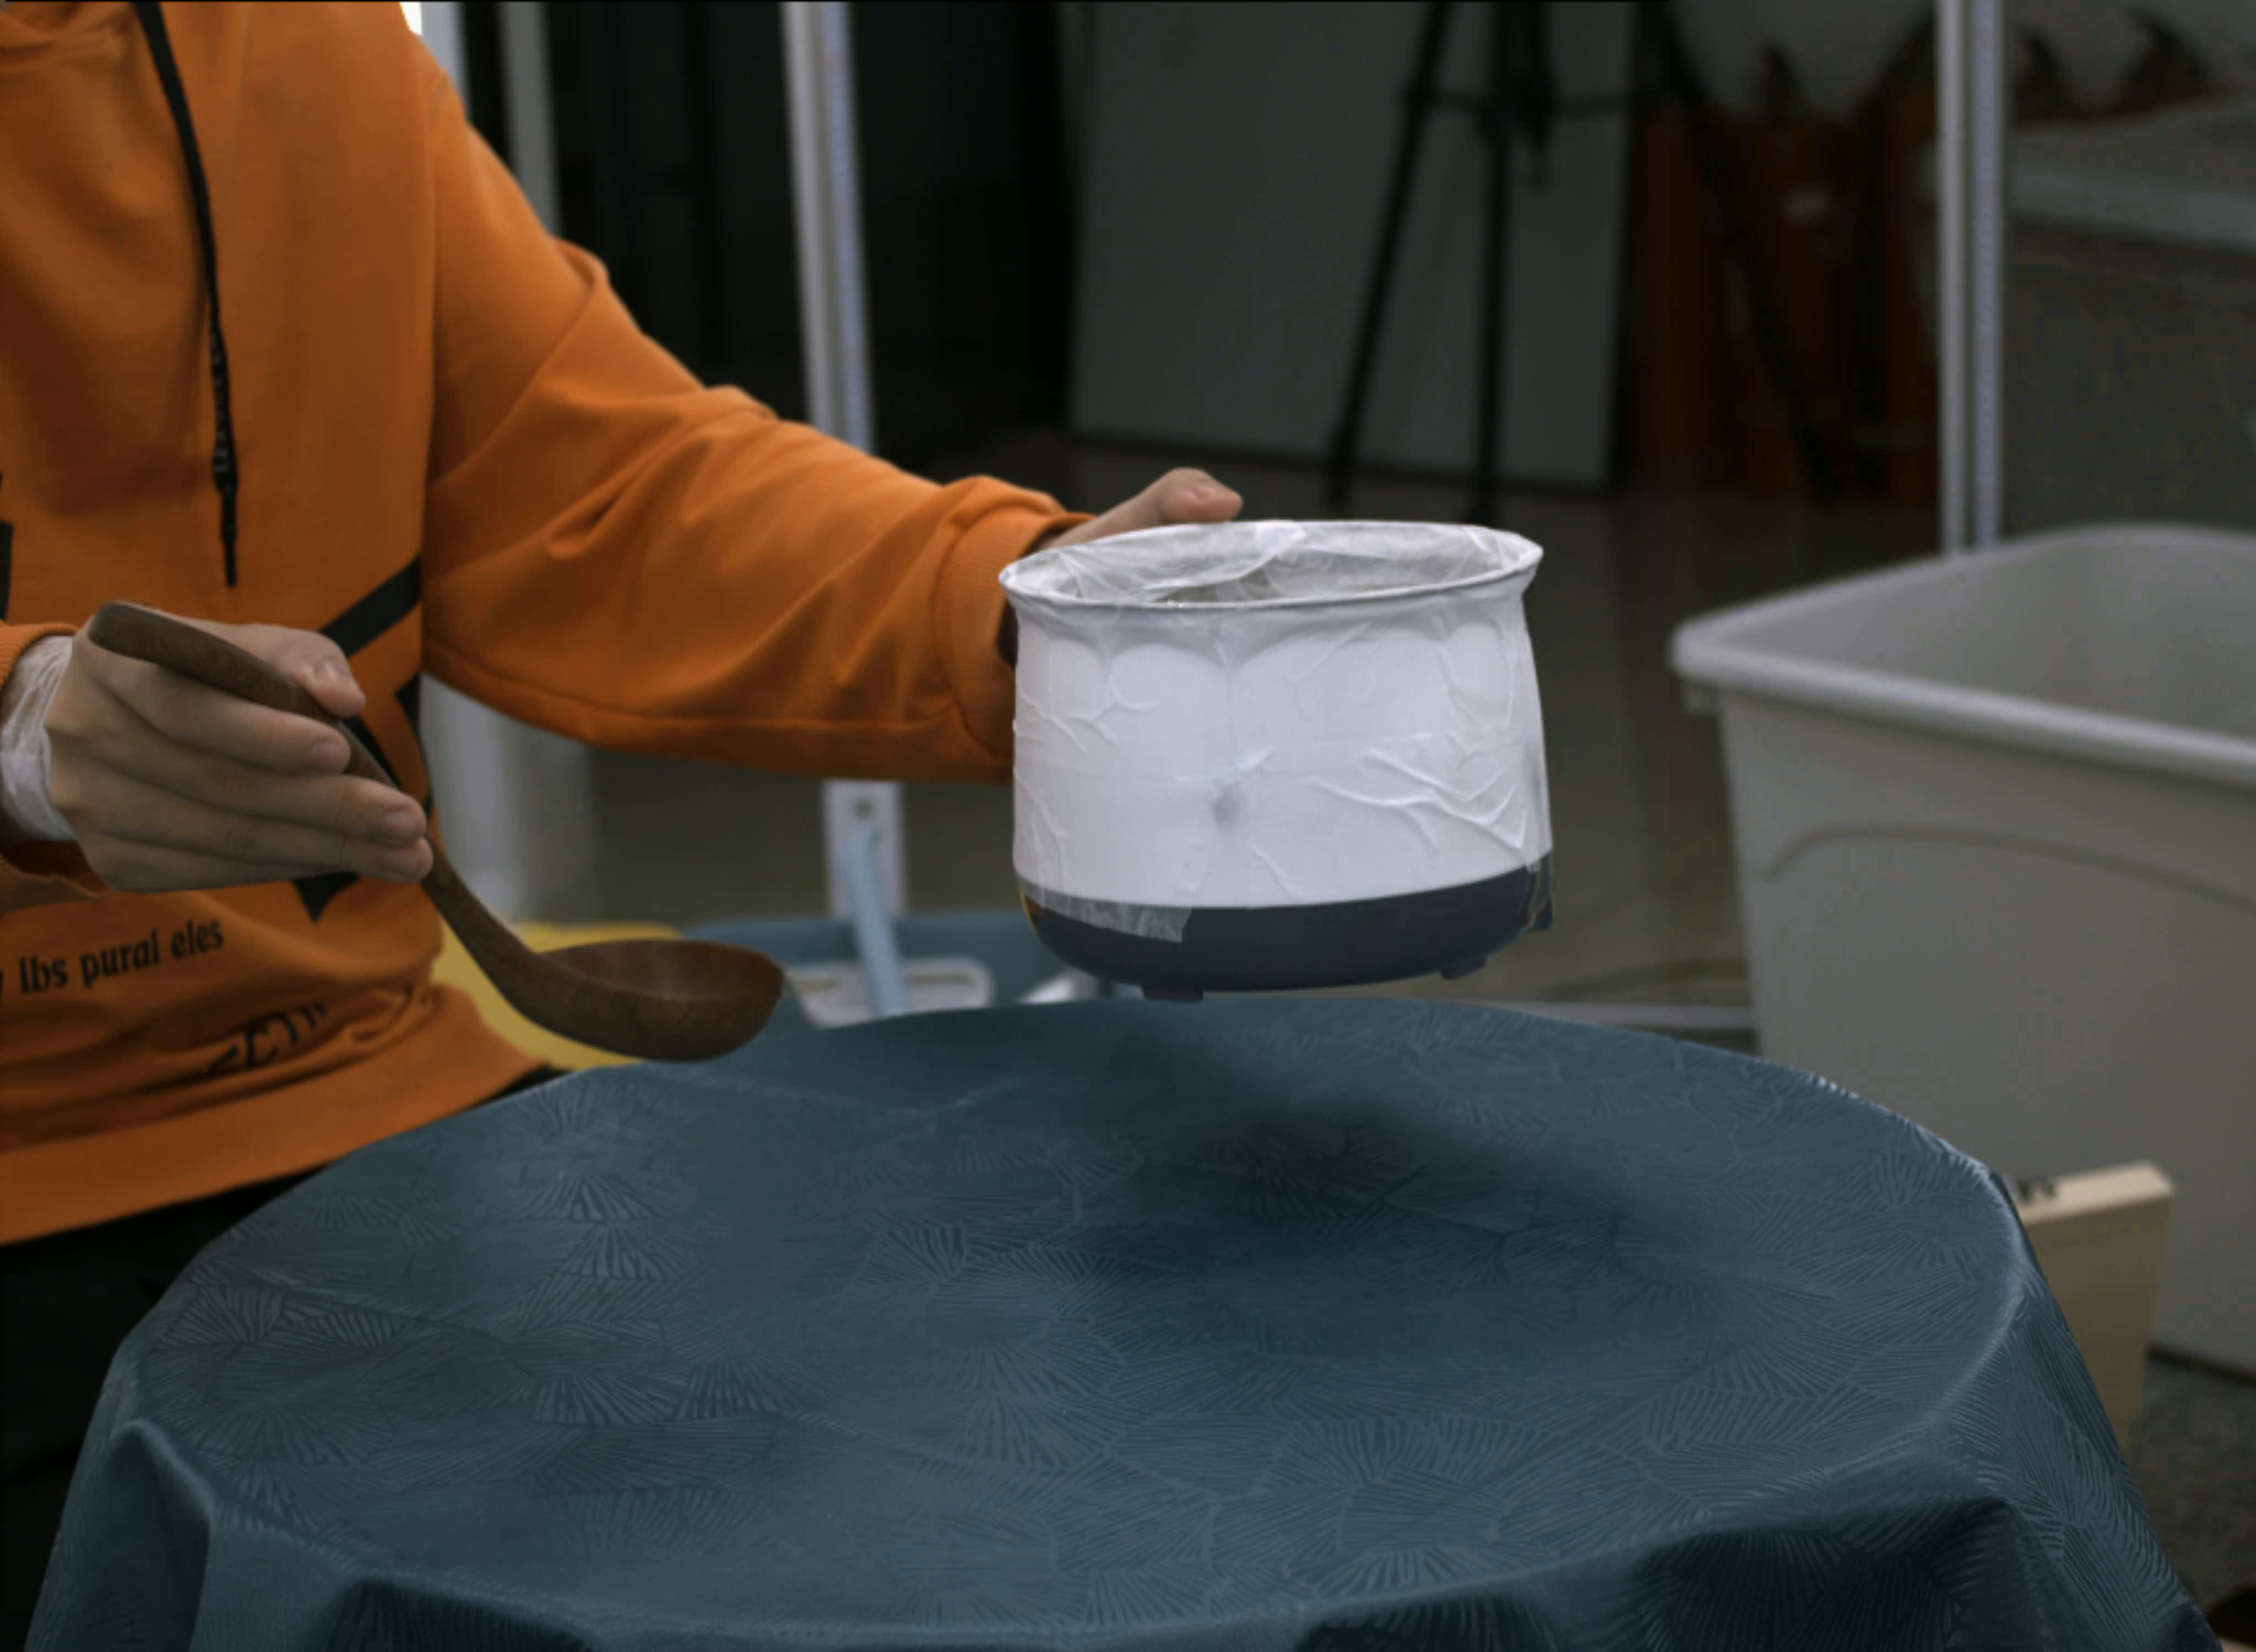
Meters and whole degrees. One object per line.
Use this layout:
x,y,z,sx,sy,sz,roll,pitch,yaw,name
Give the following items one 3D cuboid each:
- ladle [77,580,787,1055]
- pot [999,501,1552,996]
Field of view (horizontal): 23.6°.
-0.197,-0.010,1.568,0.077,0.257,0.065,9,61,51,ladle
0.043,-0.030,1.770,0.175,0.138,0.235,-5,10,-11,pot
